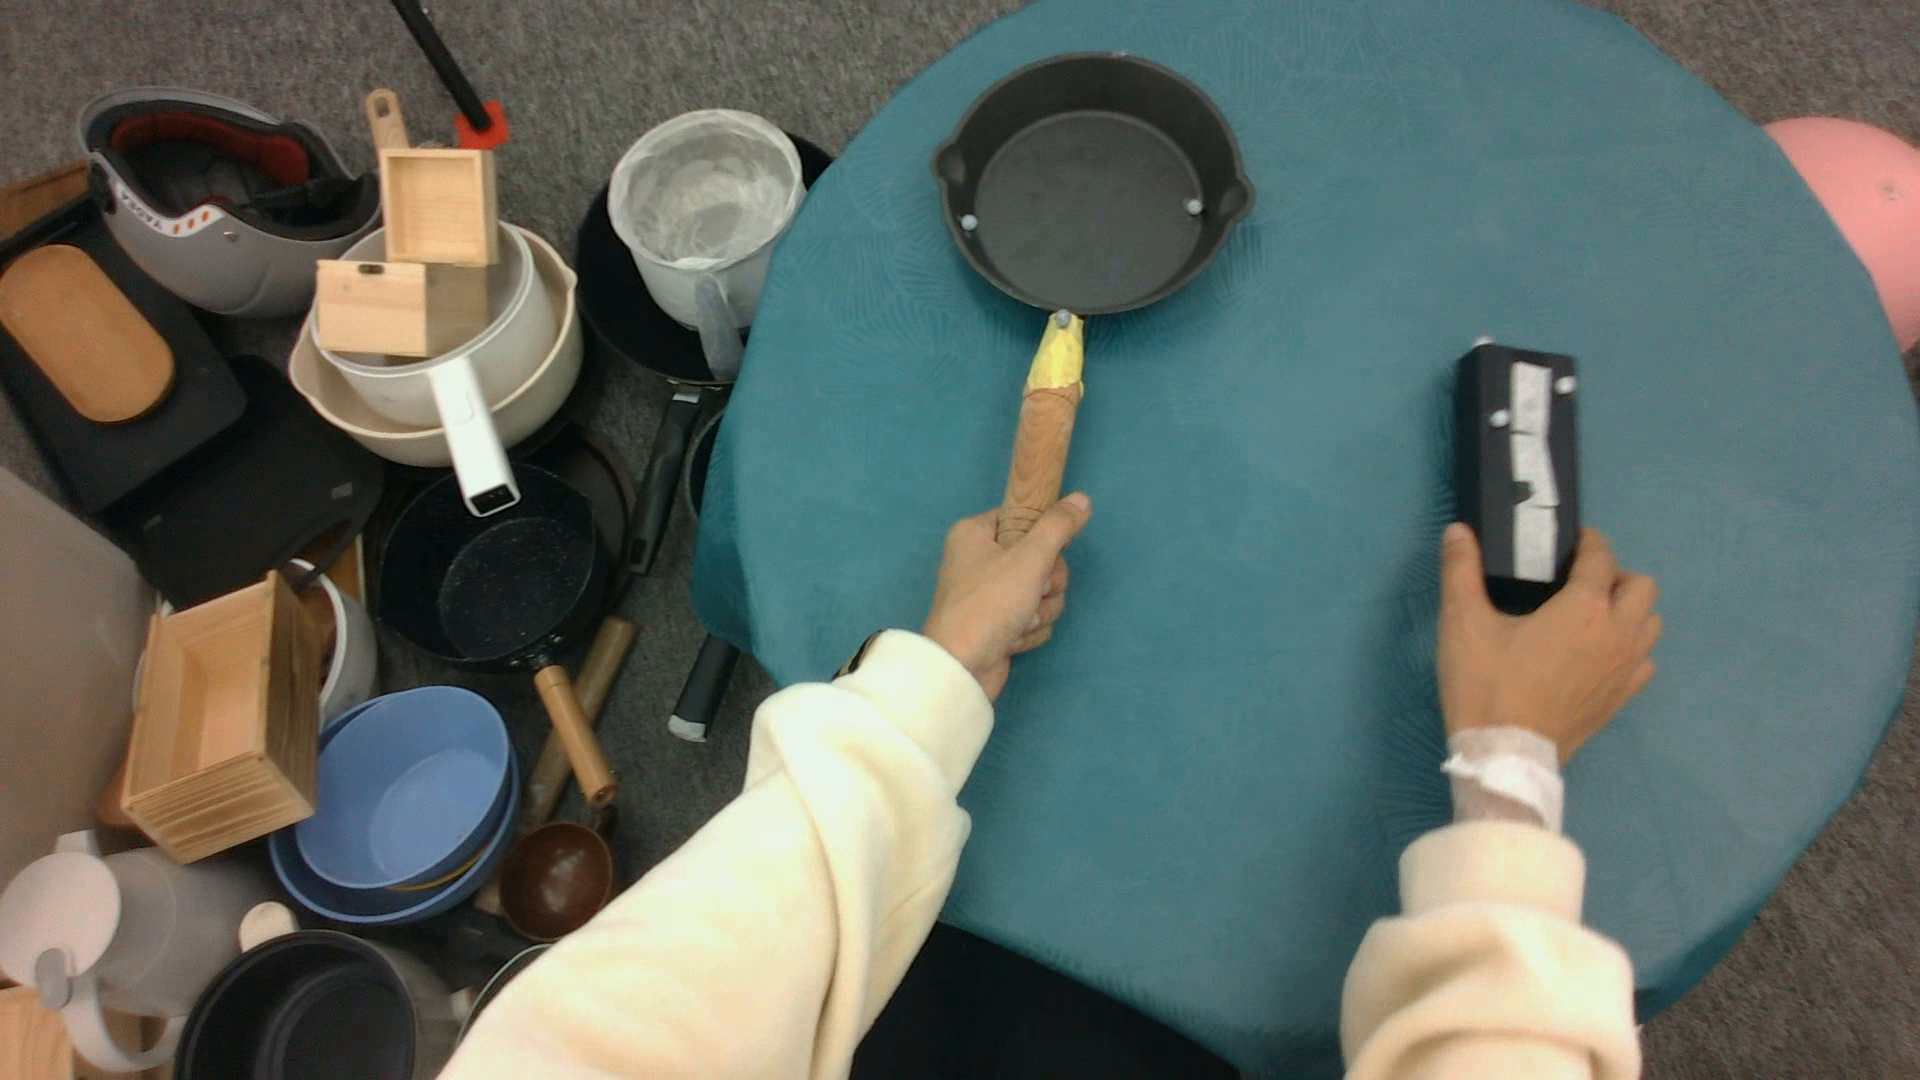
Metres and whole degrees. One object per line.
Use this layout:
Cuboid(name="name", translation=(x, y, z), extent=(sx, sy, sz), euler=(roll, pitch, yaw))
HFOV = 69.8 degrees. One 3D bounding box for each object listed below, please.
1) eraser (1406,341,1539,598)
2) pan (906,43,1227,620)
Cuboid(name="eraser", translation=(0.247, -0.036, 0.669), extent=(0.053, 0.030, 0.126), euler=(7, 70, -7))
Cuboid(name="pan", translation=(0.039, -0.112, 0.696), extent=(0.169, 0.049, 0.325), euler=(10, 71, 4))
